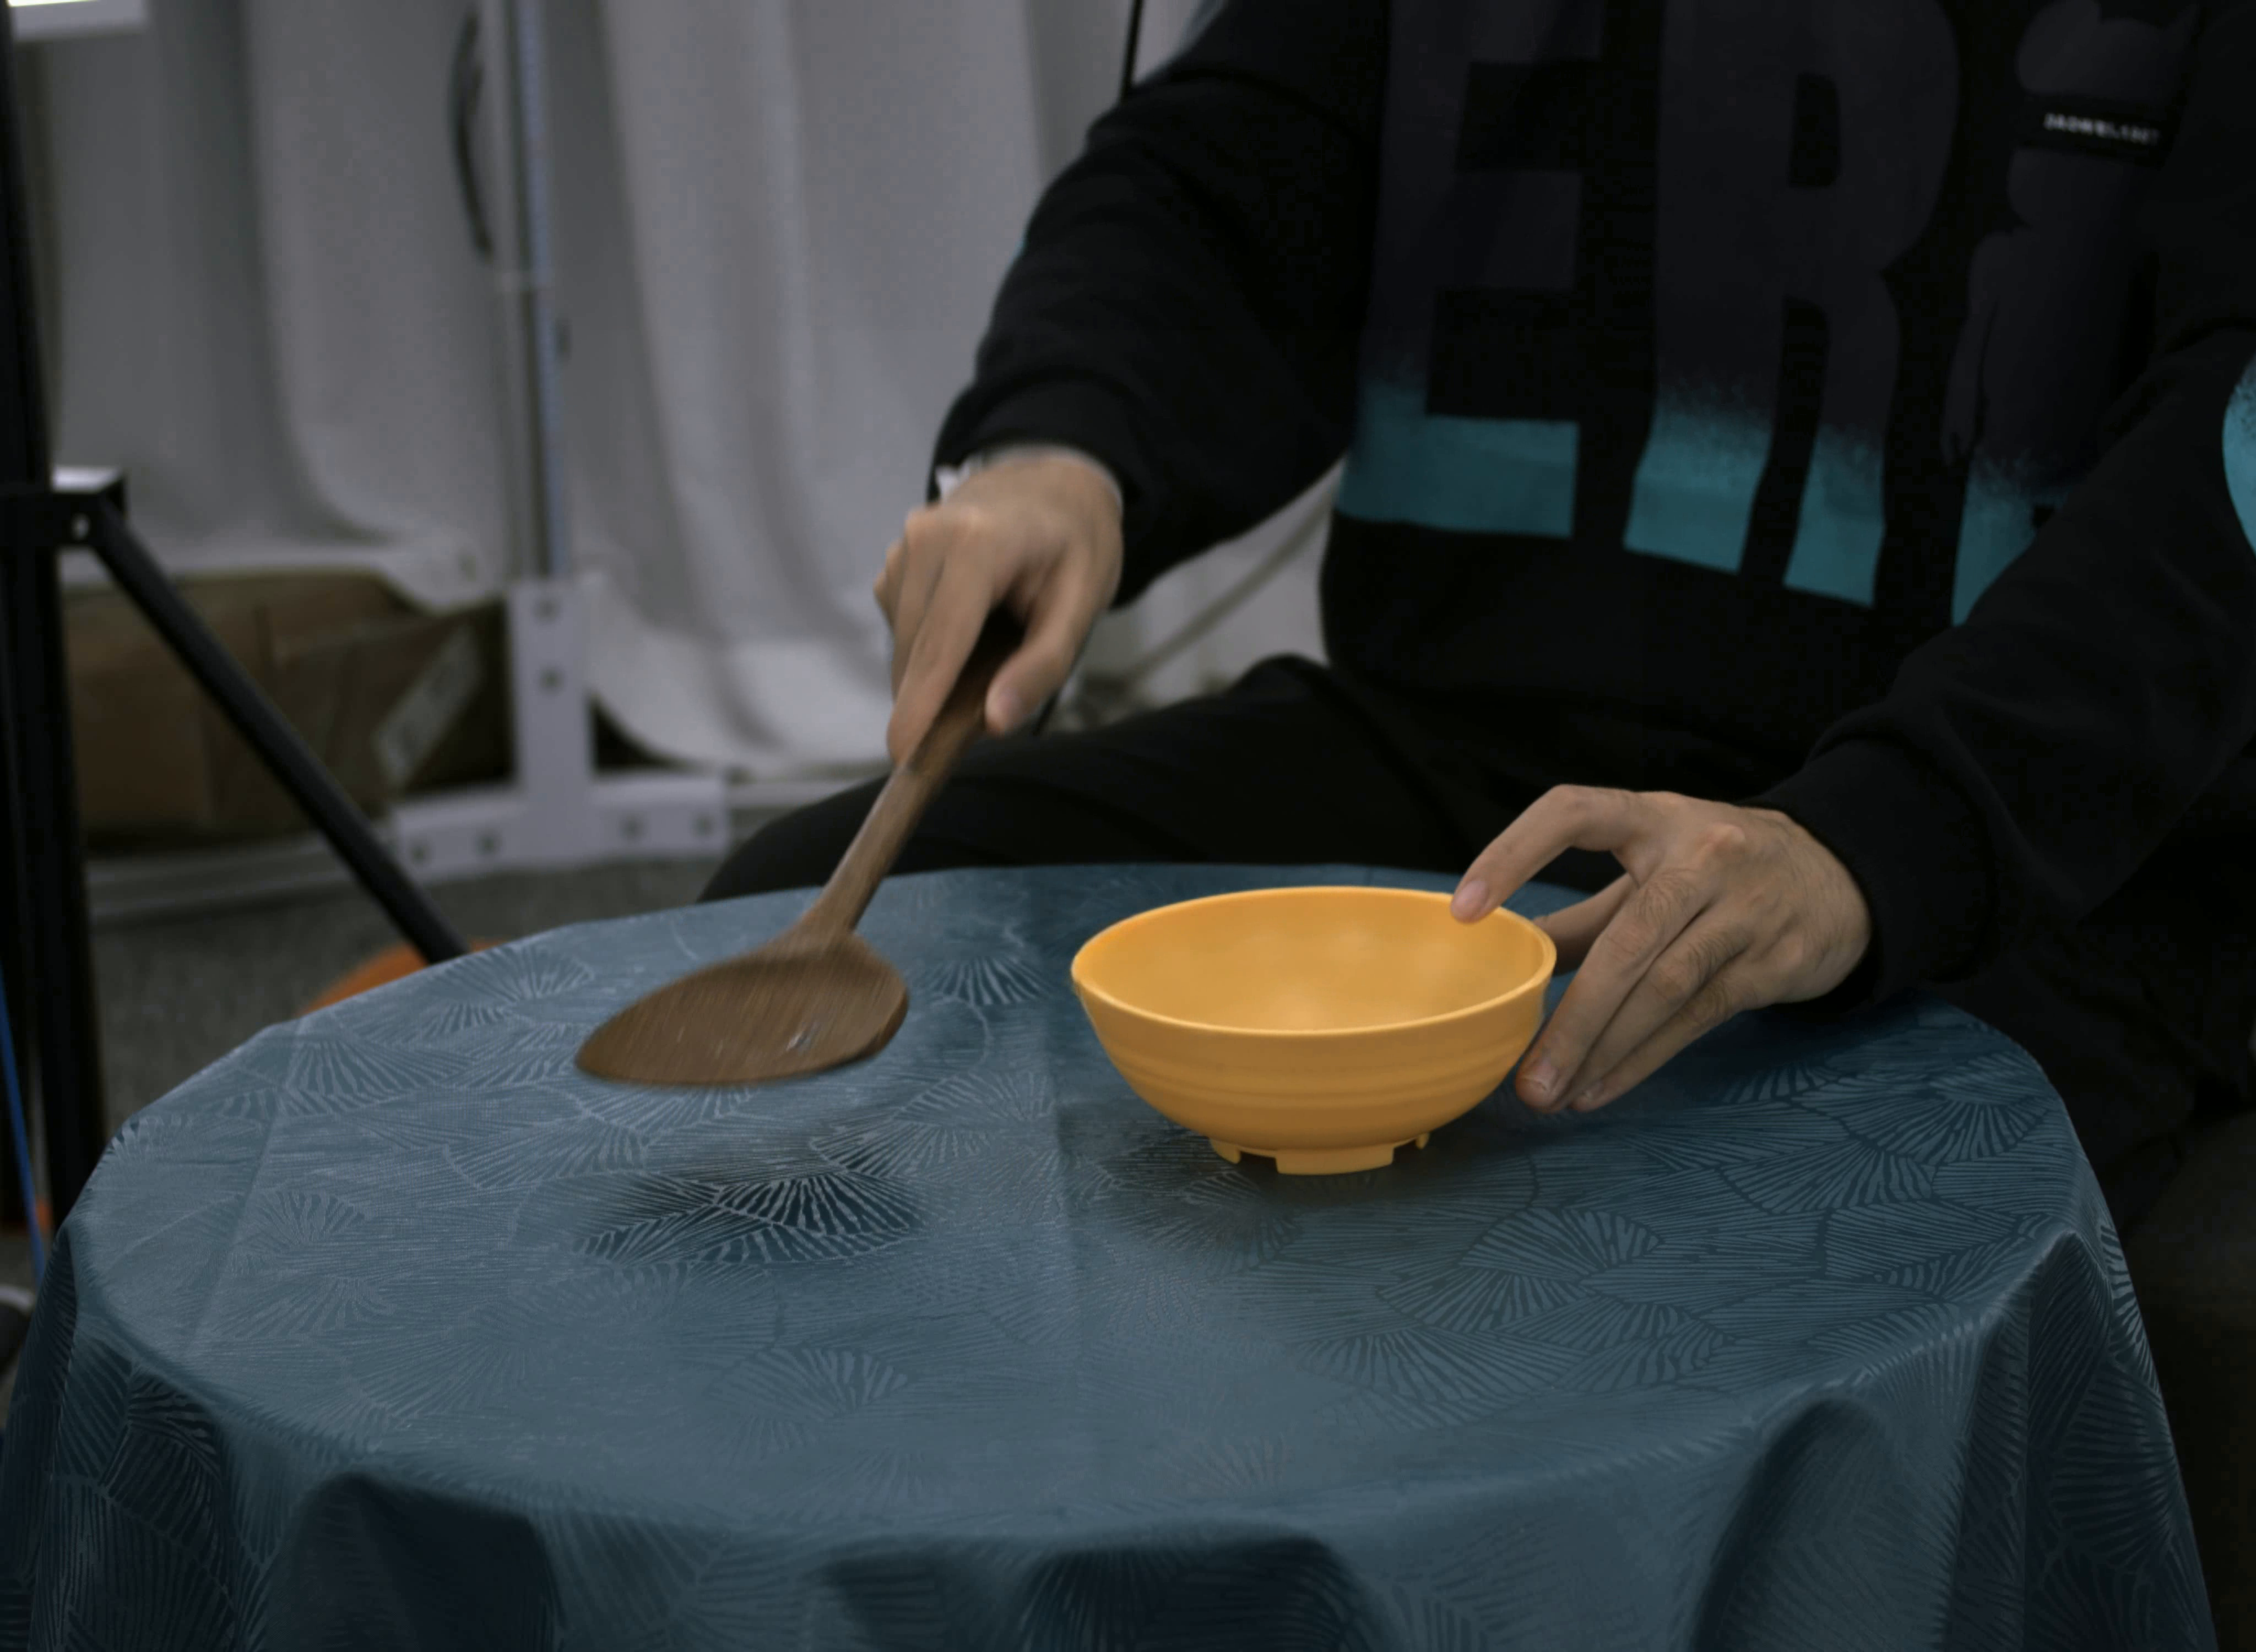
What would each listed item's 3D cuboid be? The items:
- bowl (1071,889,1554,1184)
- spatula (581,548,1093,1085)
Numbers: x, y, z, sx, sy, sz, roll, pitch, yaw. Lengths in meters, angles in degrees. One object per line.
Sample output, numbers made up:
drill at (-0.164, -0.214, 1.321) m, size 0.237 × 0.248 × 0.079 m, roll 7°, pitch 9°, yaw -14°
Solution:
bowl at (0.054, 0.068, 1.589) m, size 0.144 × 0.060 × 0.146 m, roll 0°, pitch 16°, yaw -1°
spatula at (-0.071, -0.011, 1.694) m, size 0.097 × 0.015 × 0.384 m, roll -4°, pitch 26°, yaw 18°
